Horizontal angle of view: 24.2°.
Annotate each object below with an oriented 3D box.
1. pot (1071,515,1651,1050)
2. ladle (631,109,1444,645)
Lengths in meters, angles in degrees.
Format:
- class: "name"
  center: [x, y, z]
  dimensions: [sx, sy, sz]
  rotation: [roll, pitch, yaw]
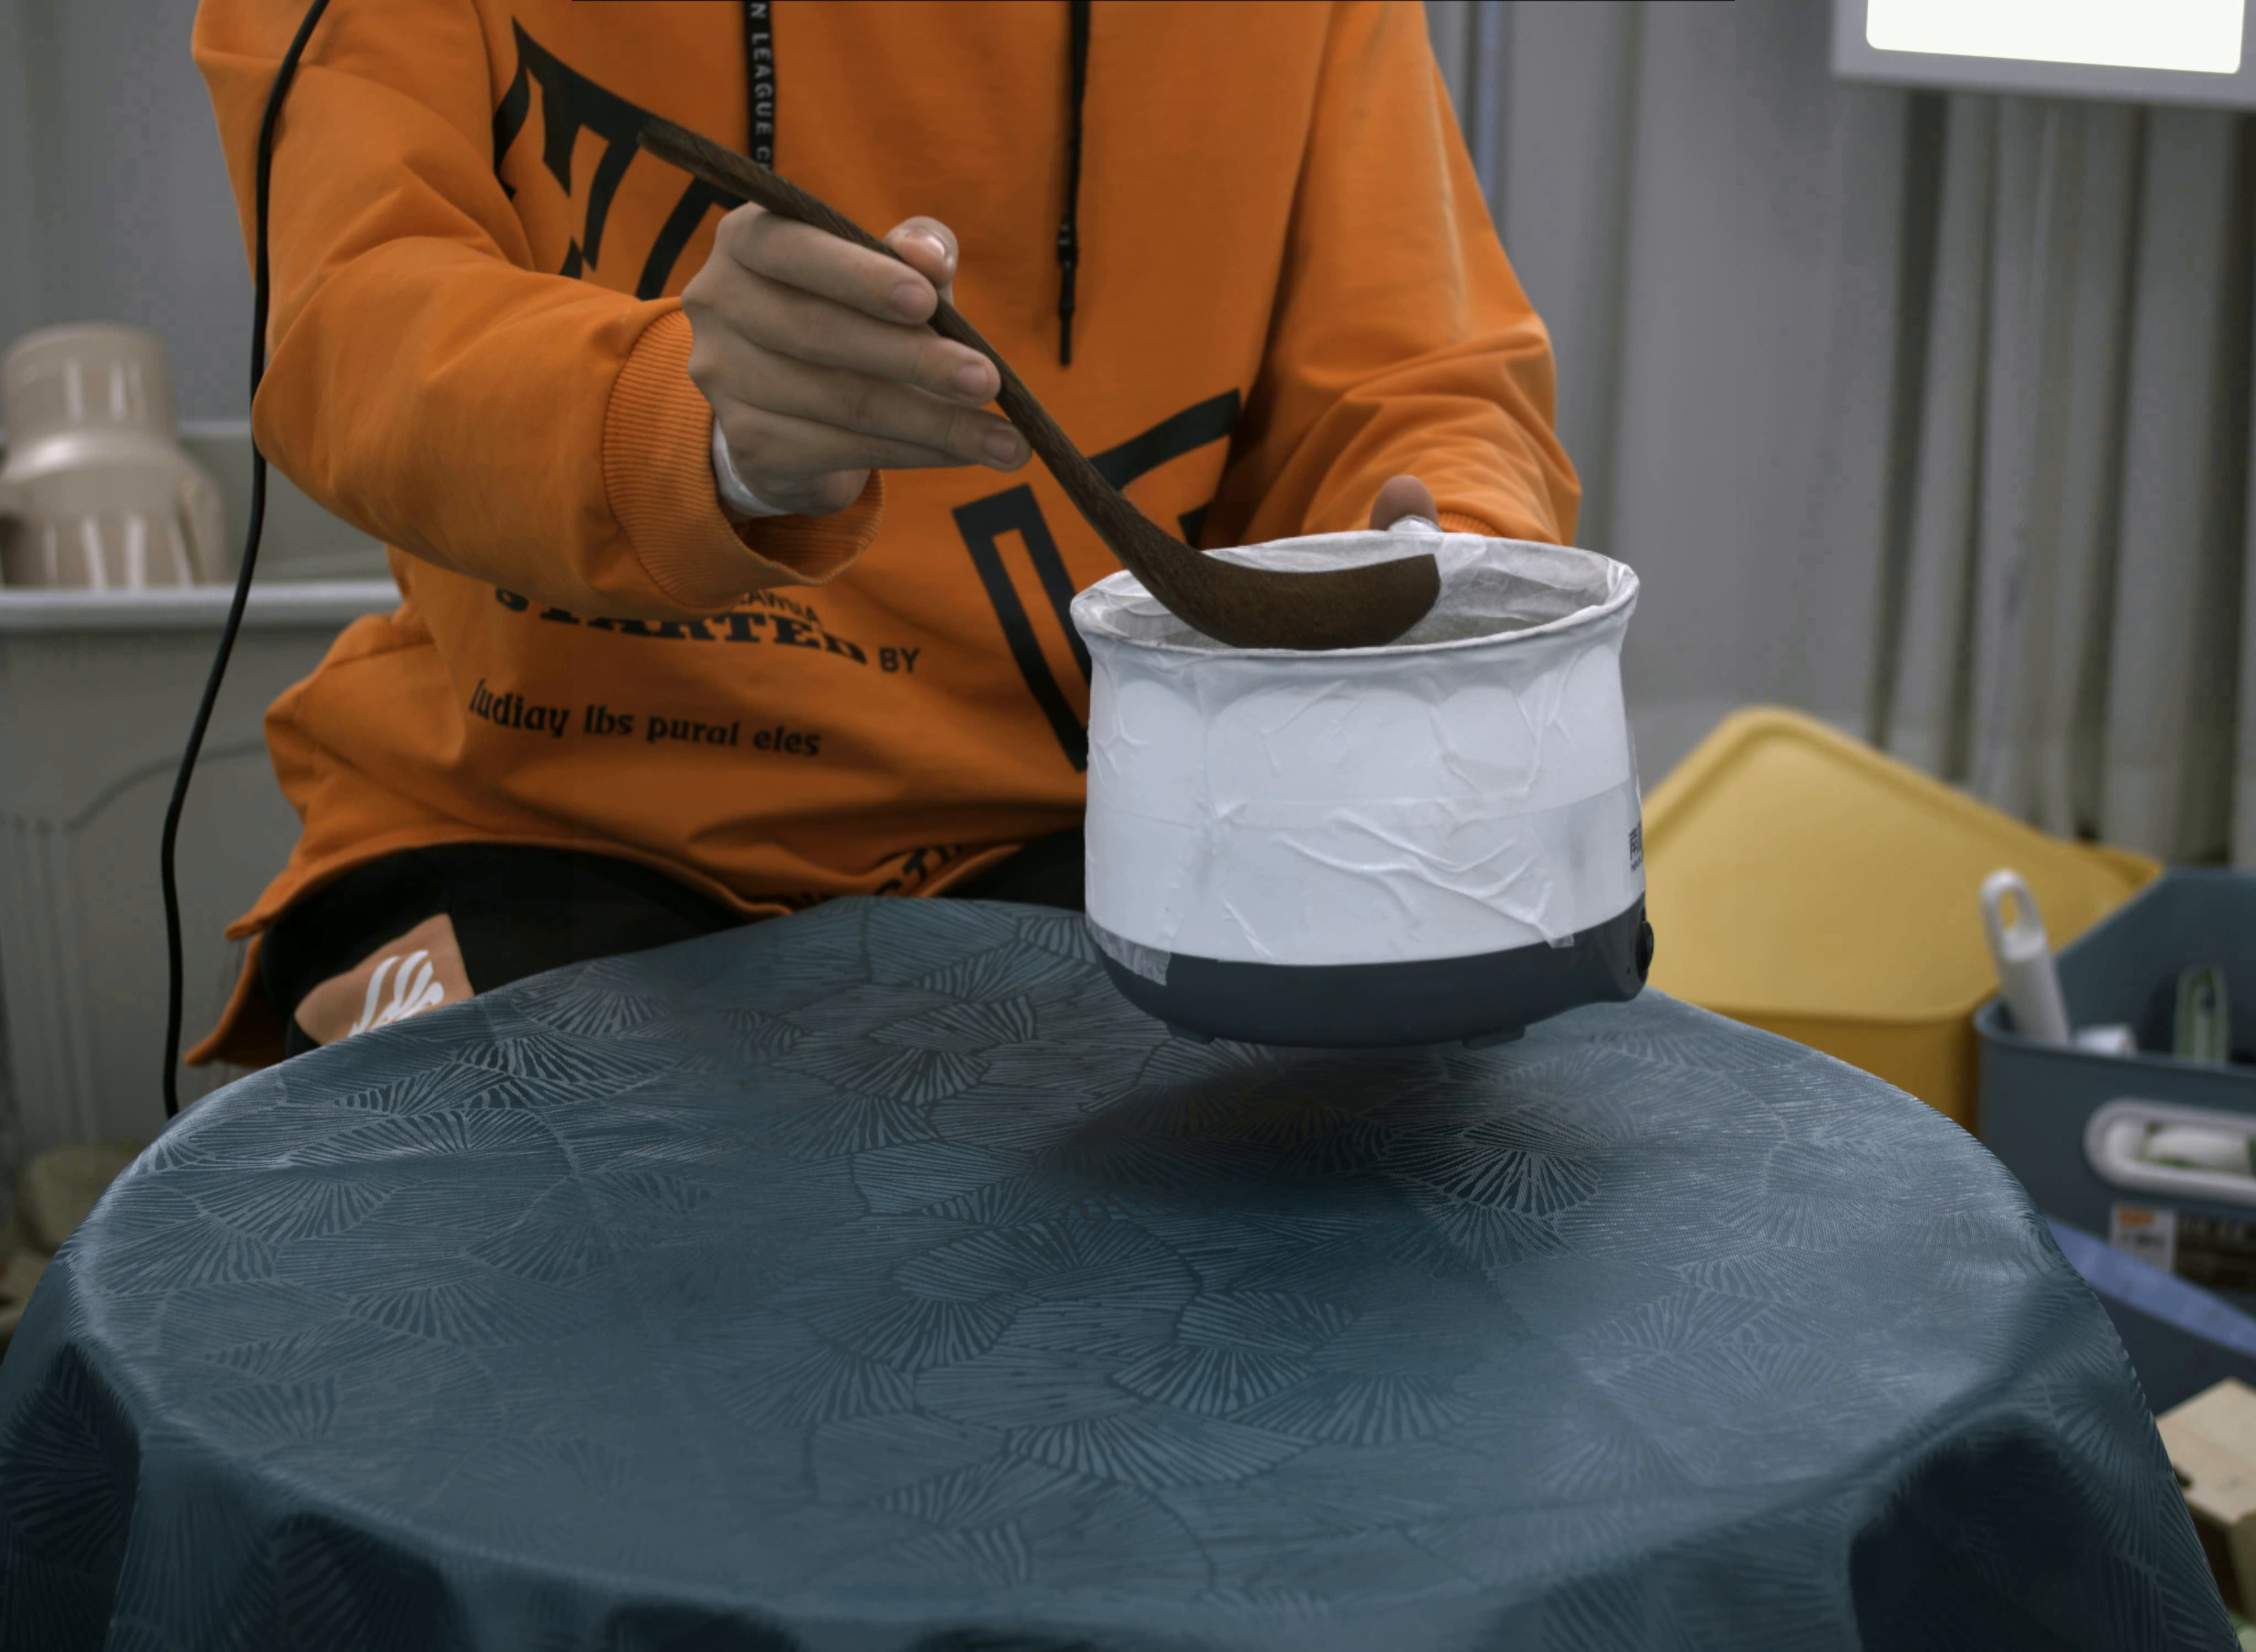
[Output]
- class: "pot"
  center: [0.079, -0.018, 1.674]
  dimensions: [0.177, 0.138, 0.233]
  rotation: [0, 14, 12]
- class: "ladle"
  center: [-0.023, -0.143, 1.578]
  dimensions: [0.275, 0.071, 0.076]
  rotation: [42, -11, -6]
